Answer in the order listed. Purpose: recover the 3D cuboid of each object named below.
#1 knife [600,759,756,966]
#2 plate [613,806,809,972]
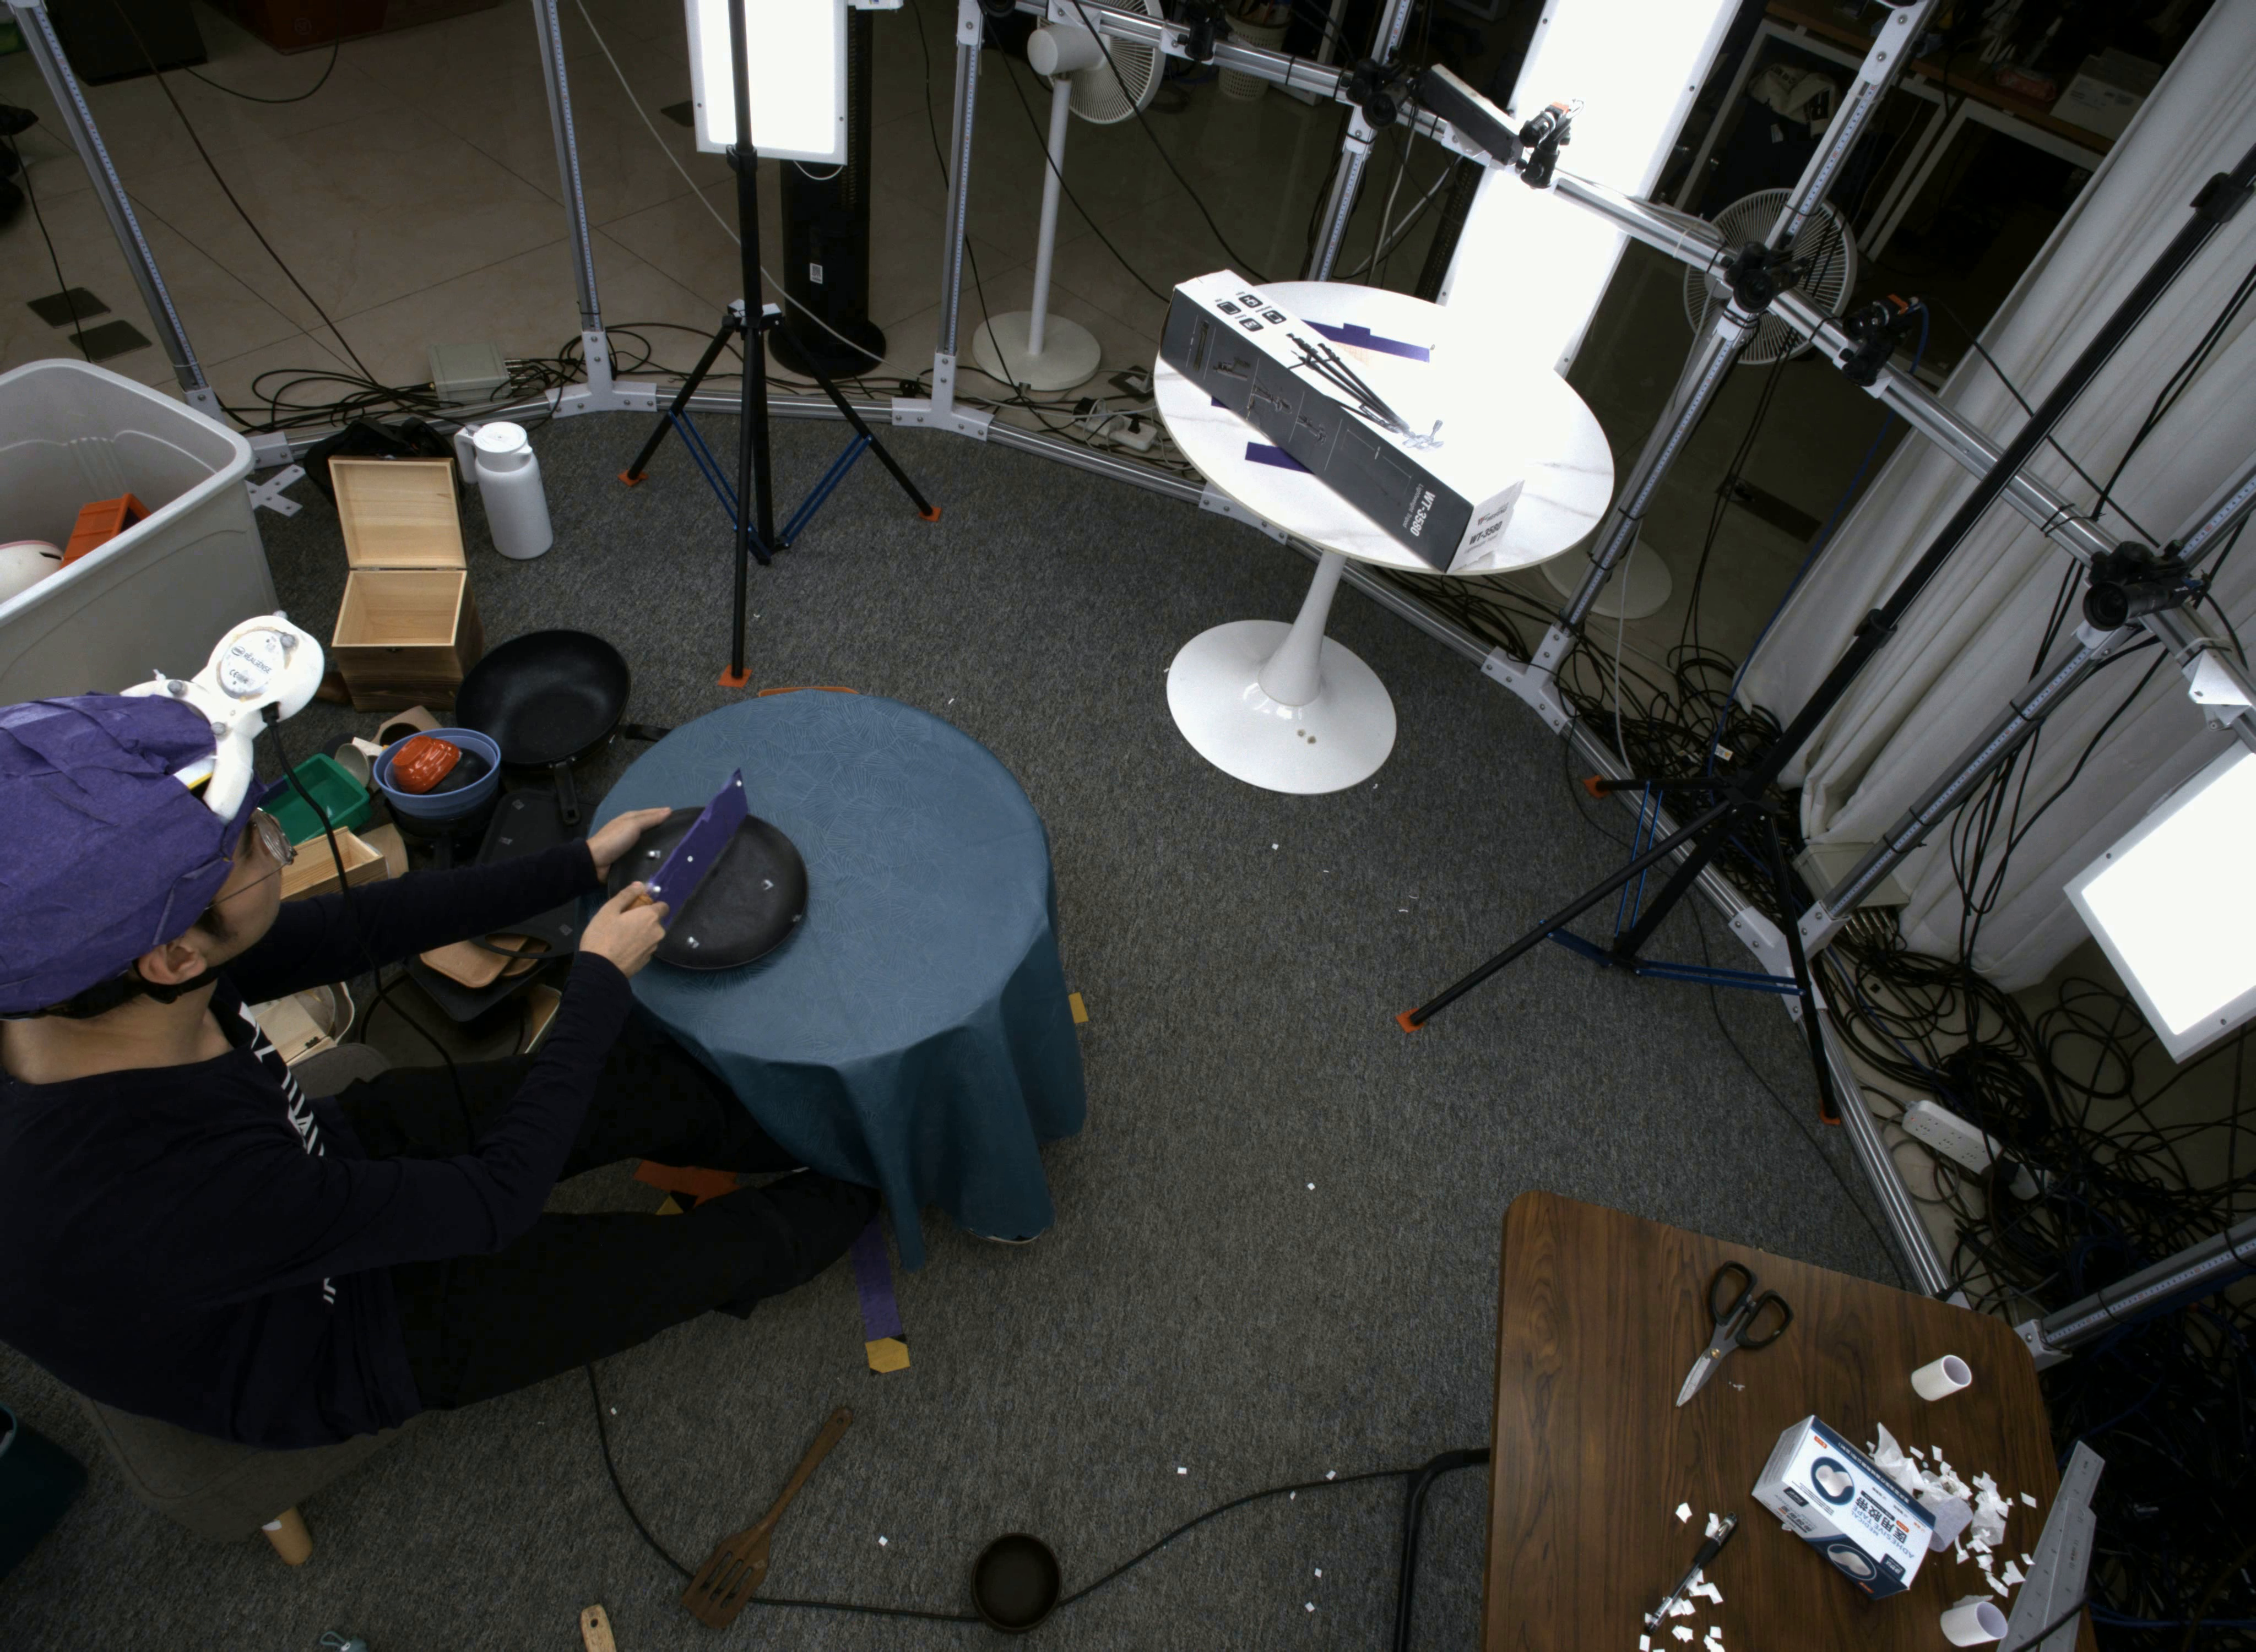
[{"bbox_3d":[-0.534,0.058,1.561,0.031,0.107,0.313,17,51,12],"label":"knife"},{"bbox_3d":[-0.525,0.078,1.624,0.245,0.024,0.240,12,53,-14],"label":"plate"}]
